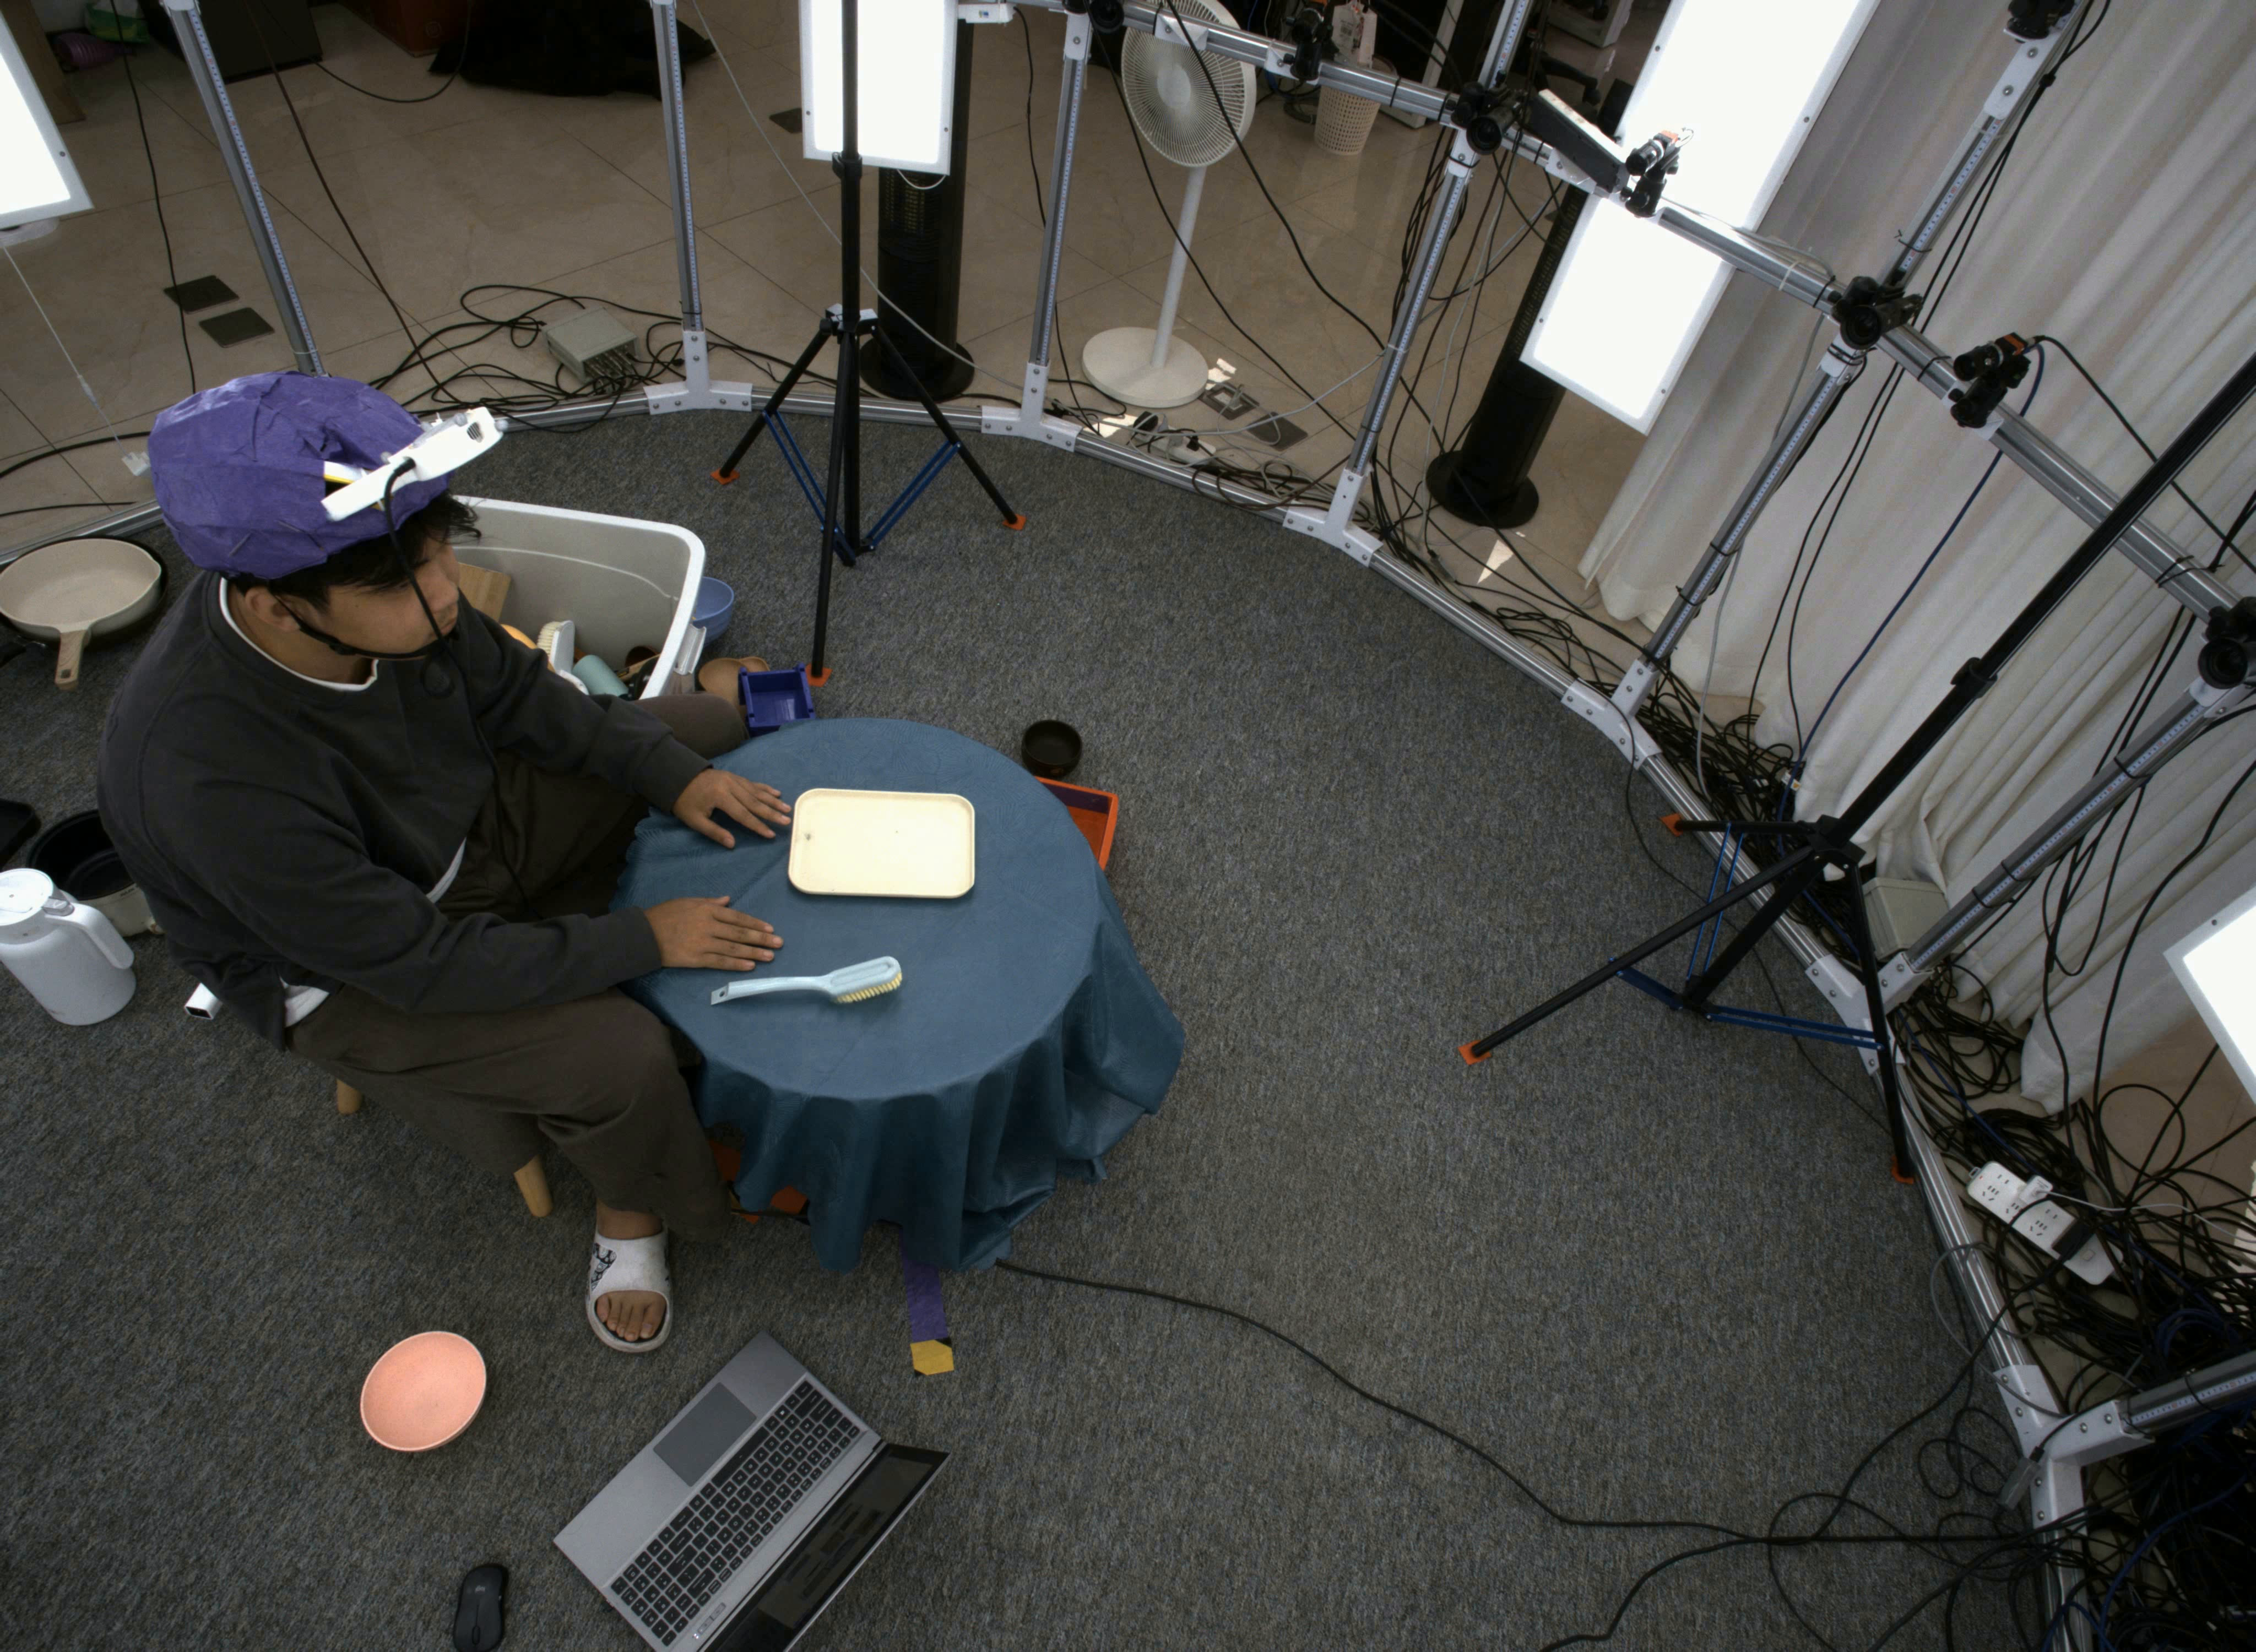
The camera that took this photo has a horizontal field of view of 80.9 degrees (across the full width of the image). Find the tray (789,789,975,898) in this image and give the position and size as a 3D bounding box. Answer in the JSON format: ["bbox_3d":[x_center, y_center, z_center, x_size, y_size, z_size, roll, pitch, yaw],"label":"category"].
[{"bbox_3d":[-0.322,0.023,1.717,0.239,0.018,0.168,3,53,-12],"label":"tray"}]

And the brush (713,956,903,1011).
[{"bbox_3d":[-0.385,0.196,1.563,0.228,0.051,0.037,-9,48,-9],"label":"brush"}]
